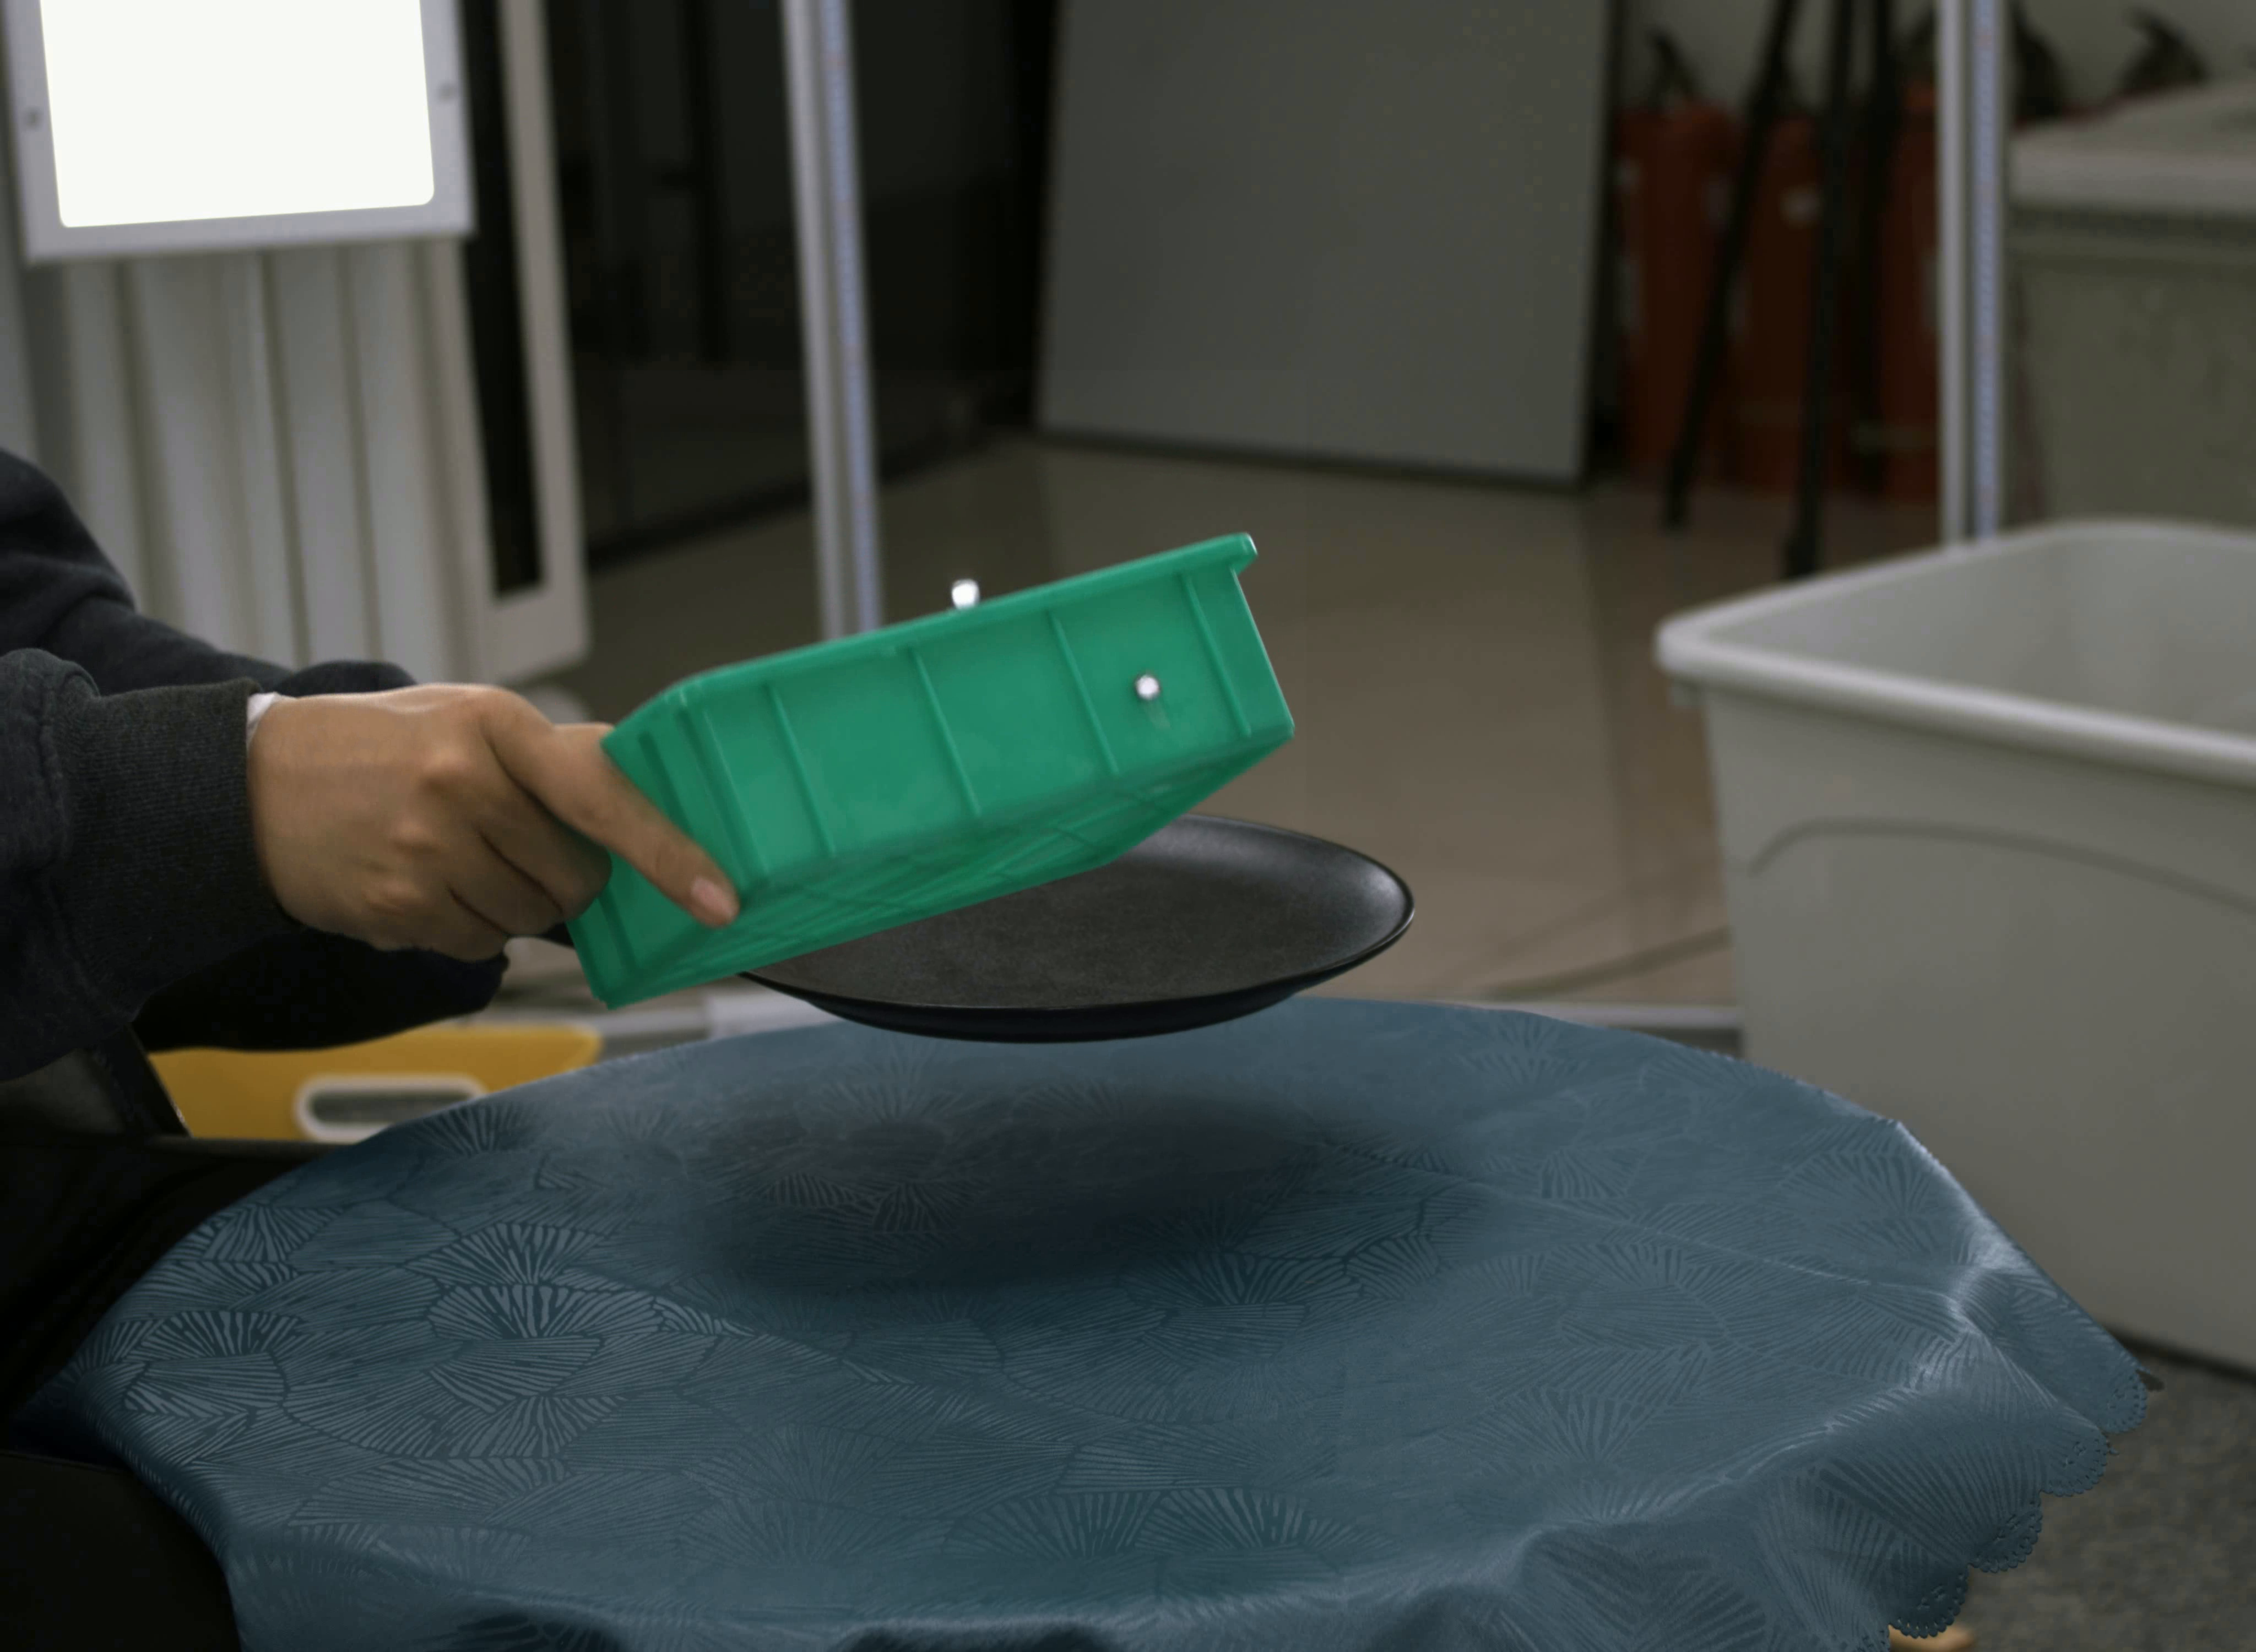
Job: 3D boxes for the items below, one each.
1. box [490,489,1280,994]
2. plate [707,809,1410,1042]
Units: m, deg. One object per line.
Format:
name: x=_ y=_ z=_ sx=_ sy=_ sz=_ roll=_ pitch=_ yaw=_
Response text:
box: x=-0.064 y=-0.021 z=1.525 sx=0.206 sy=0.066 sz=0.140 roll=-18 pitch=-13 yaw=-34
plate: x=-0.027 y=0.034 z=1.785 sx=0.241 sy=0.024 sz=0.245 roll=-1 pitch=15 yaw=-1
